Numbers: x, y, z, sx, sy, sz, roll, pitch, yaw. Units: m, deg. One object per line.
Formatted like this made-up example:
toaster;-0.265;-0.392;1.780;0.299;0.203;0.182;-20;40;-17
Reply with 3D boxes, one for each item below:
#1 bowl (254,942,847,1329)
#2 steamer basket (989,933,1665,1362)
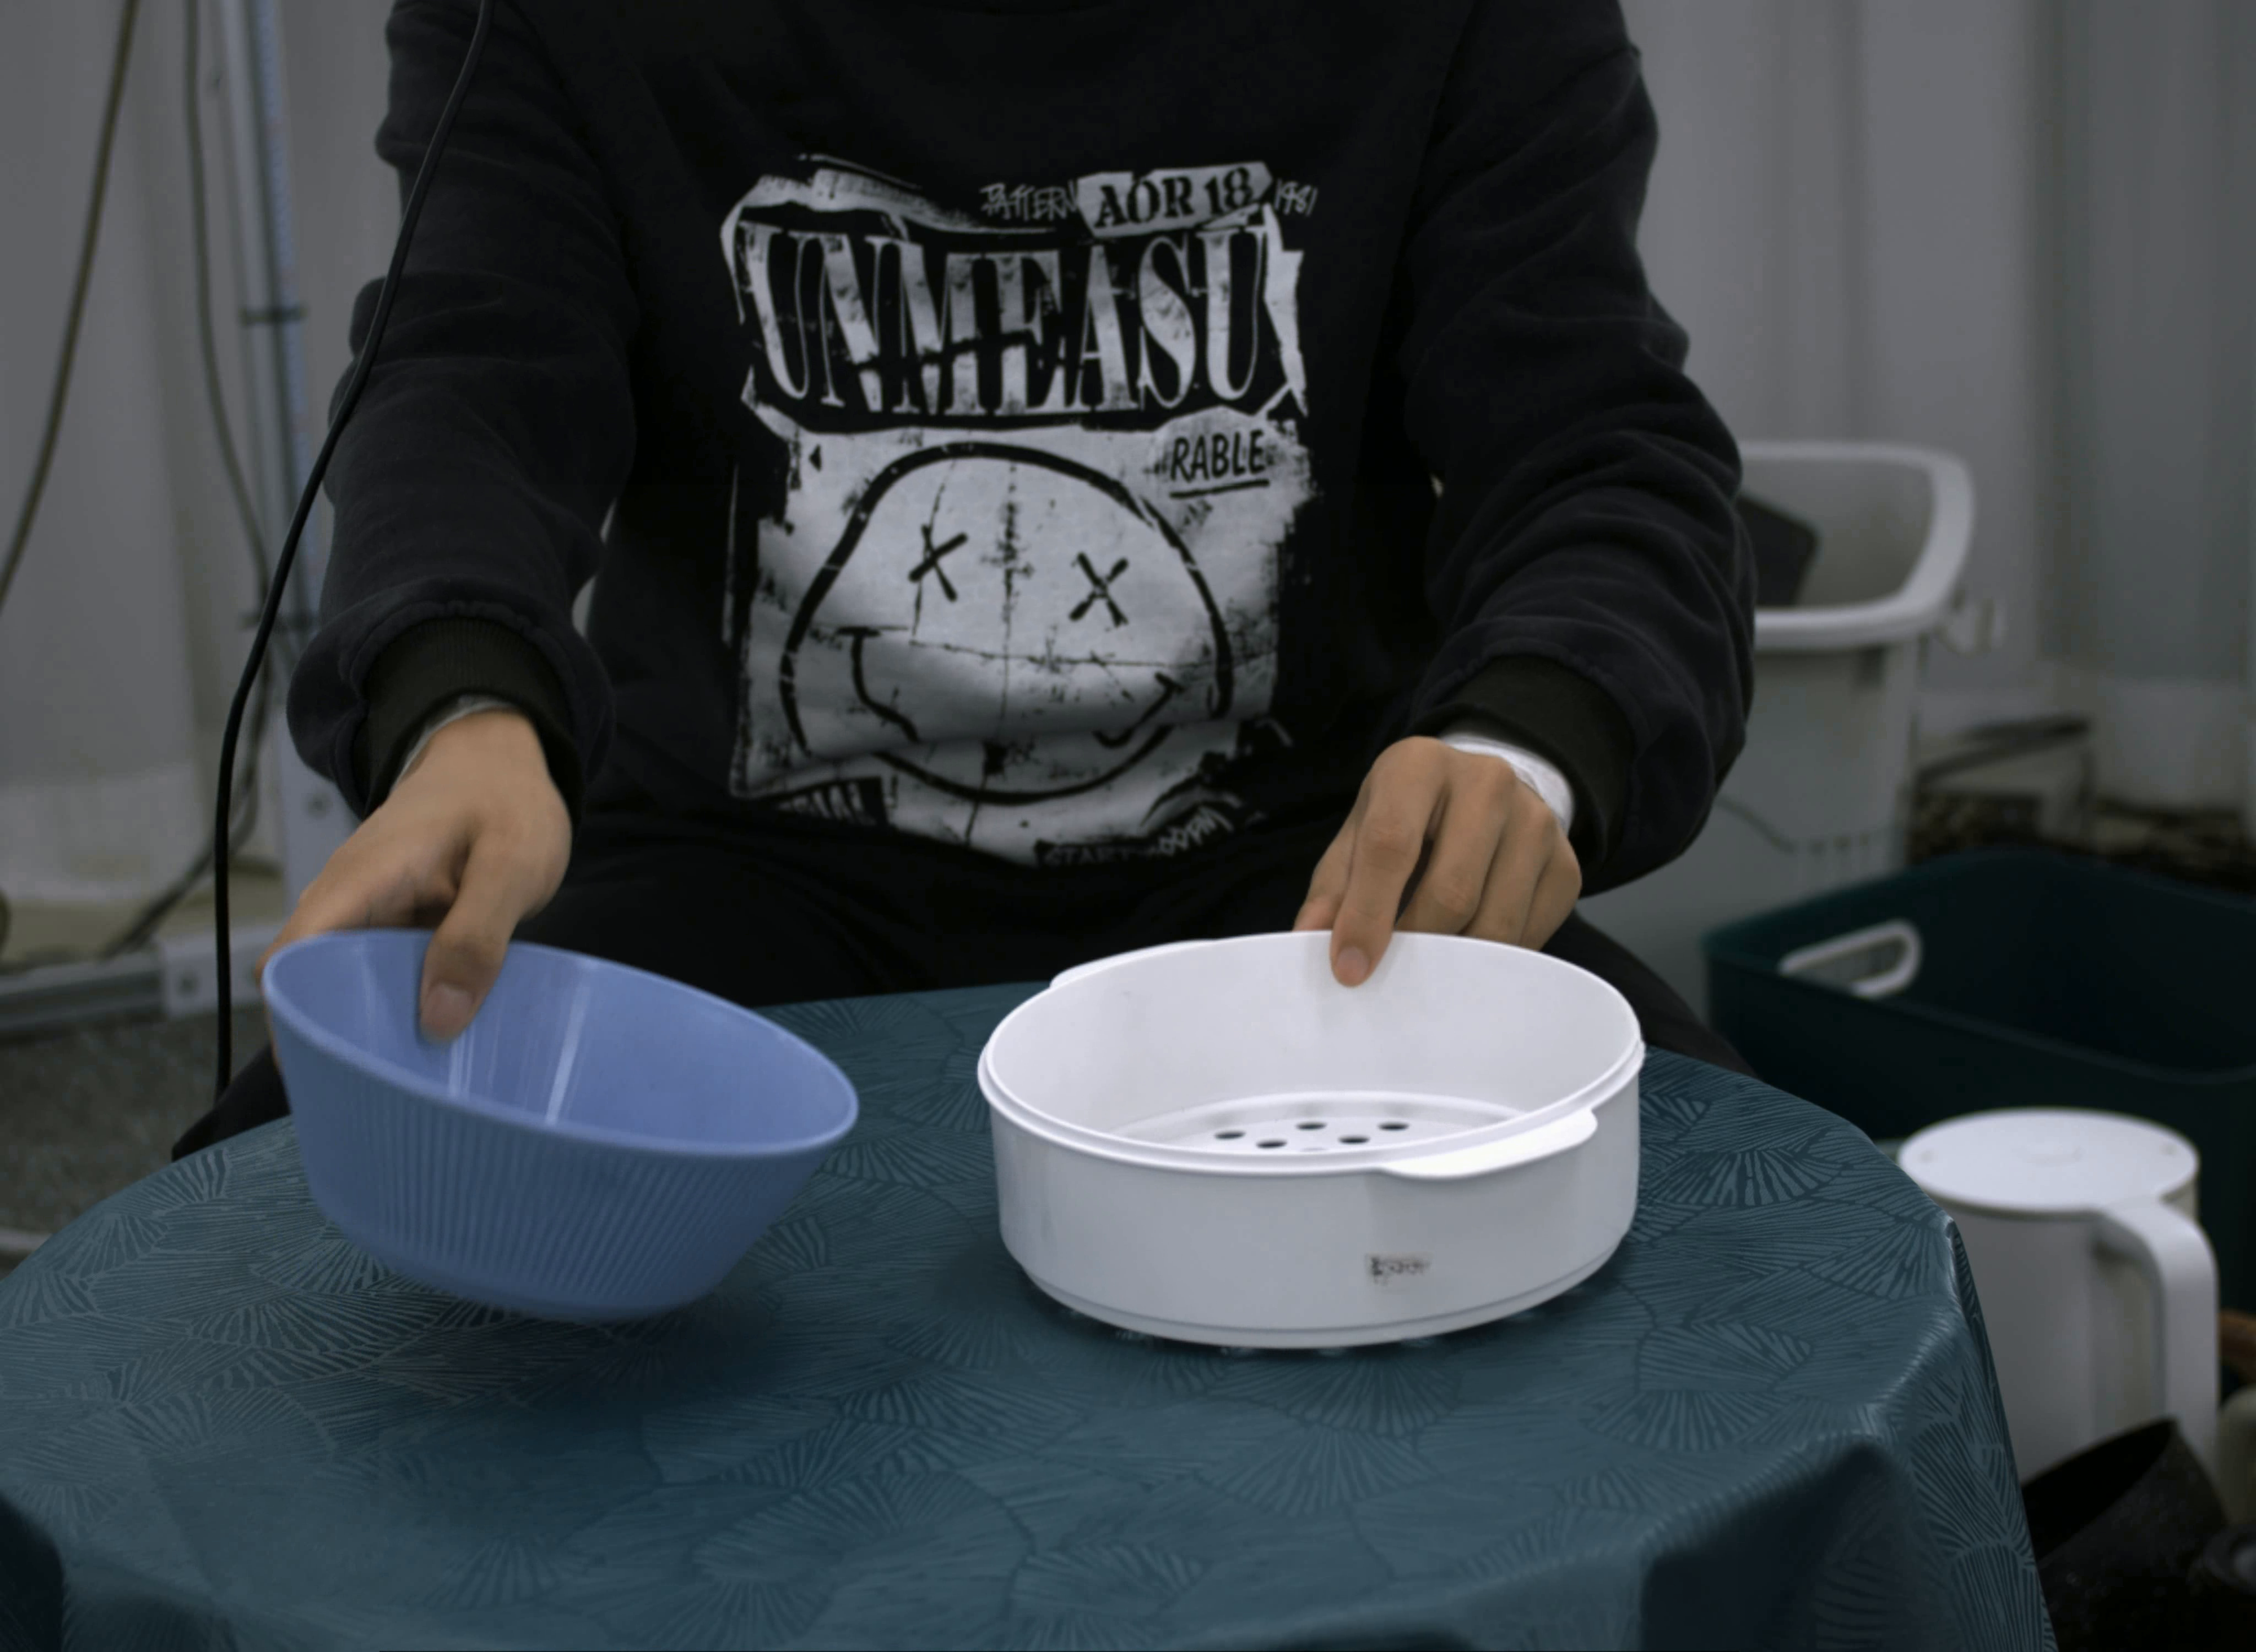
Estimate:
bowl;-0.174;0.094;1.589;0.175;0.070;0.177;14;13;-4
steamer basket;0.060;0.096;1.635;0.201;0.069;0.232;-12;21;-28
